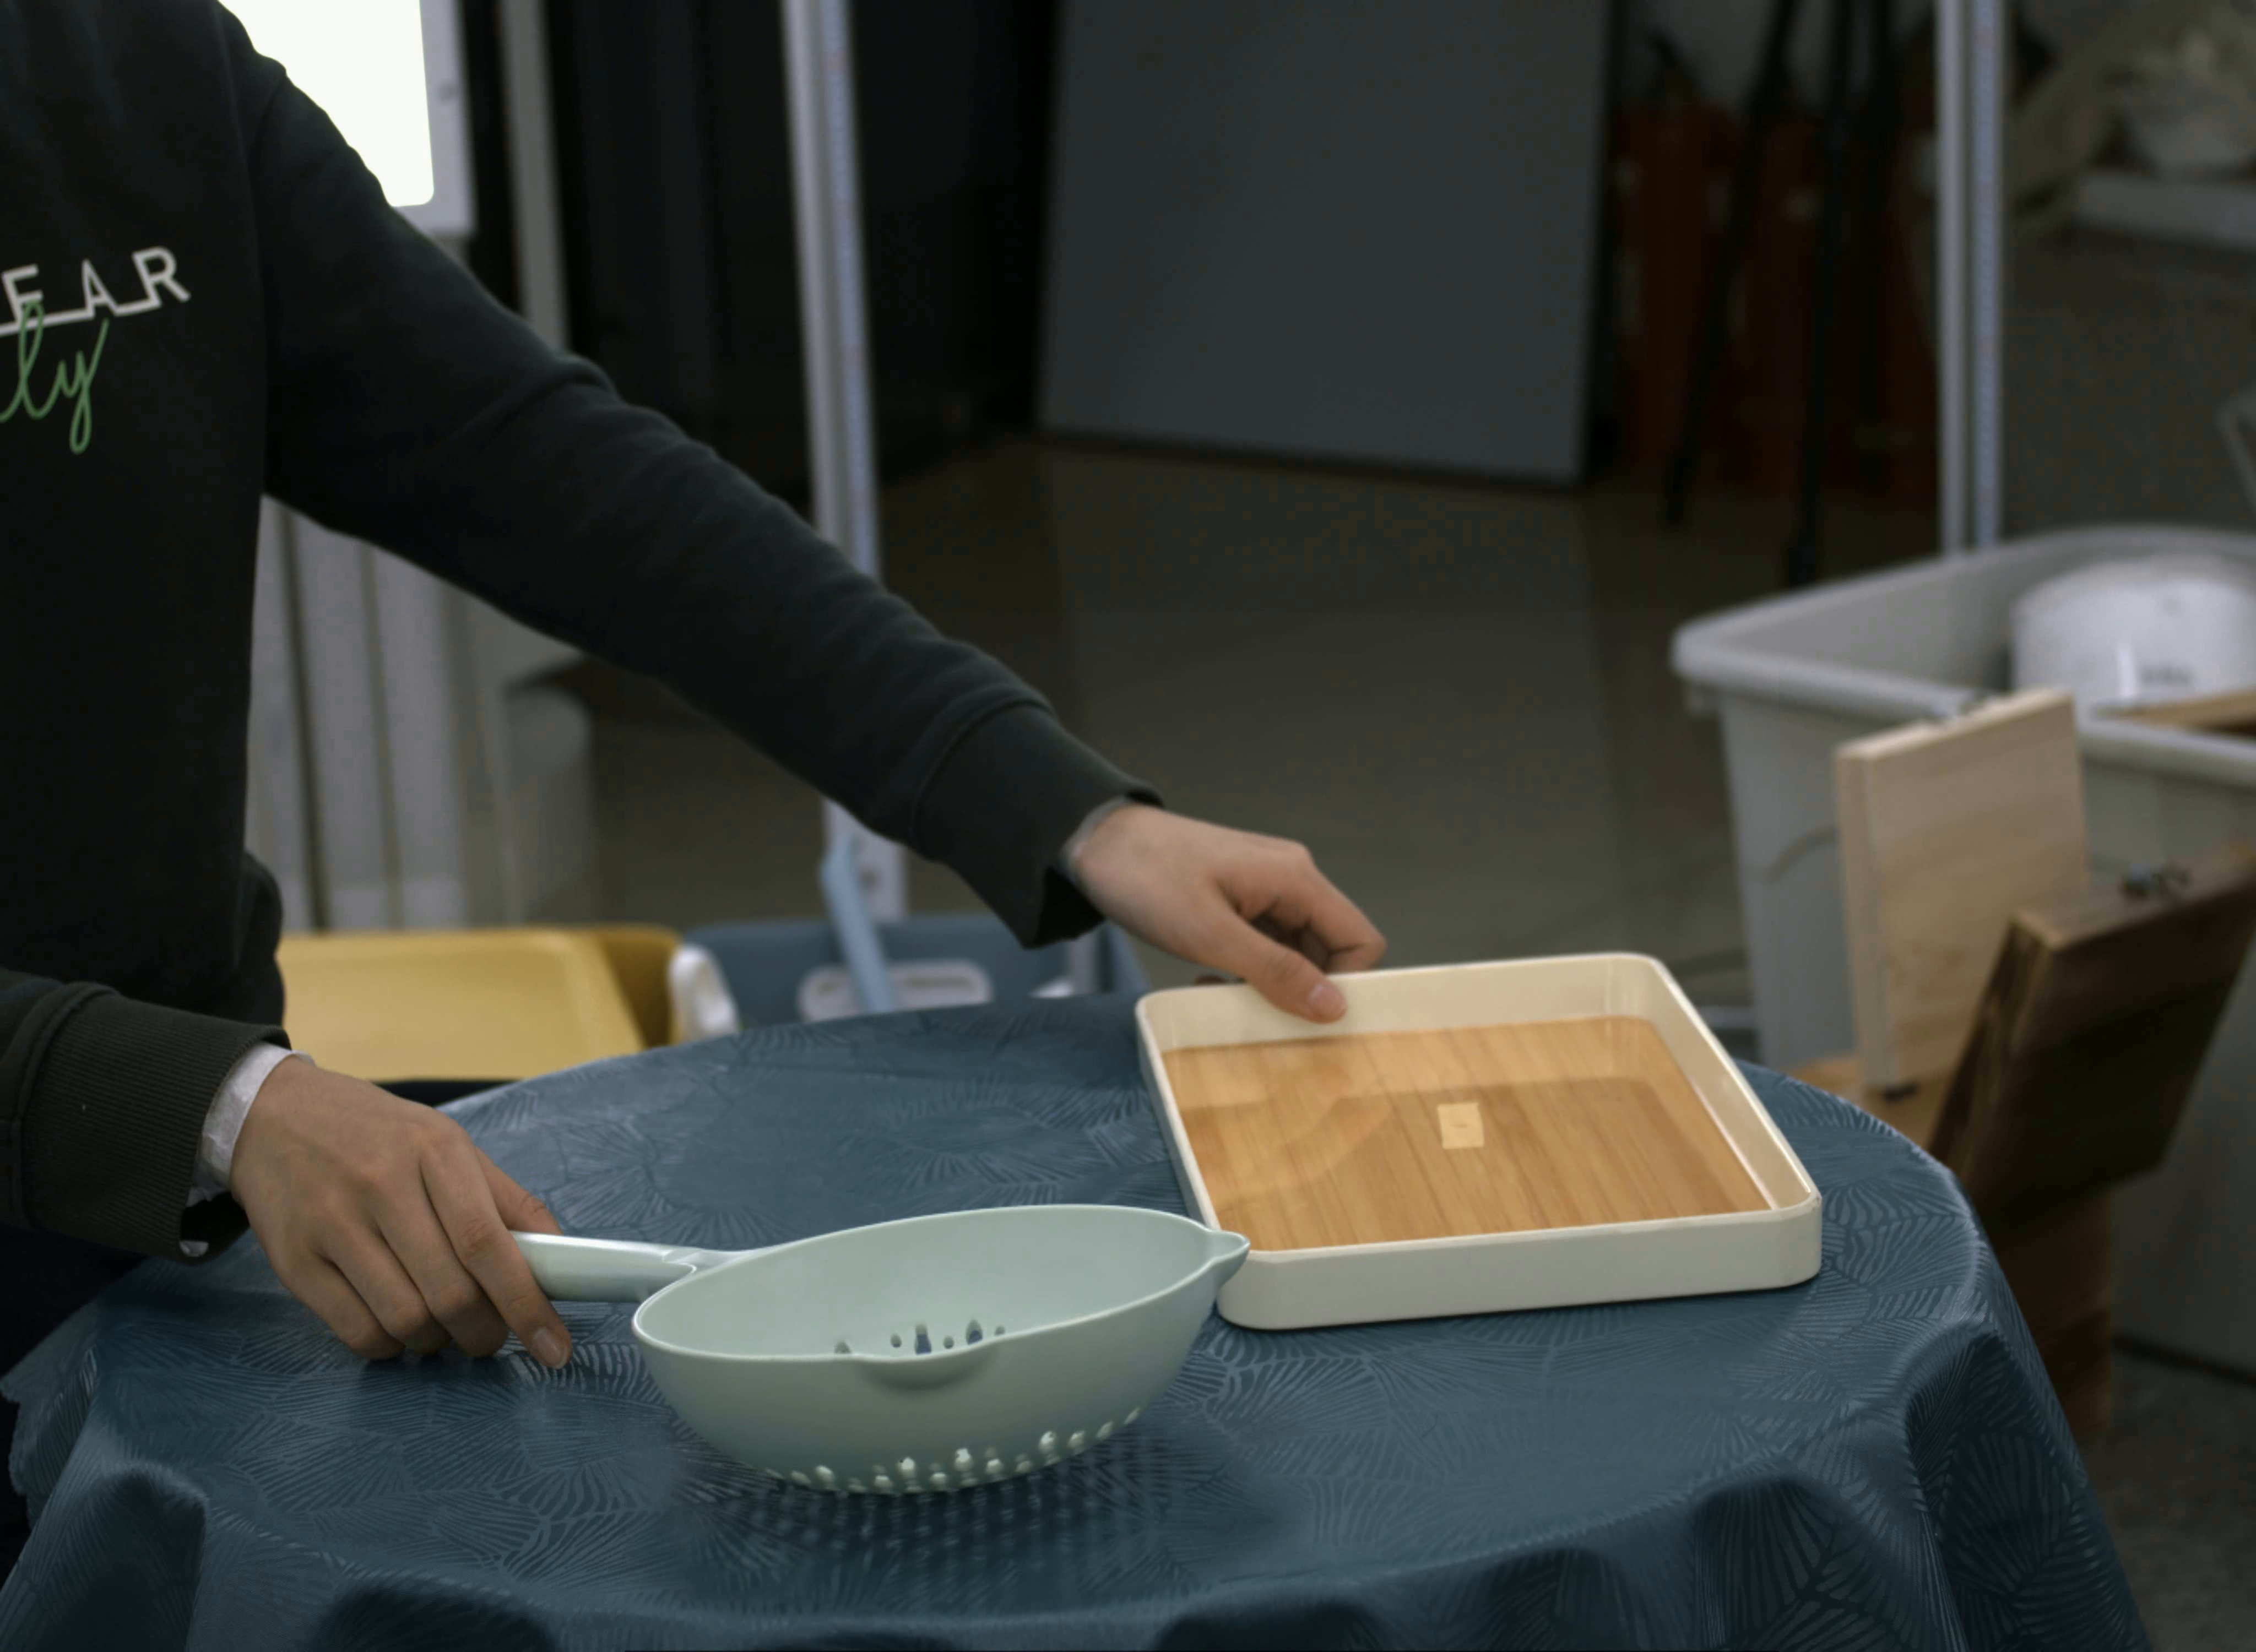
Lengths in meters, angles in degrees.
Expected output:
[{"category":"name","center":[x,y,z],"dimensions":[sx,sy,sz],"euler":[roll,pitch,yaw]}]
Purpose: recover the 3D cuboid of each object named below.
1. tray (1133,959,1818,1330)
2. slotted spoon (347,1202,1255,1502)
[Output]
[{"category":"tray","center":[0.107,0.100,1.769],"dimensions":[0.189,0.028,0.301],"euler":[-5,14,-3]},{"category":"slotted spoon","center":[-0.121,0.140,1.592],"dimensions":[0.166,0.076,0.362],"euler":[-14,18,-42]}]
